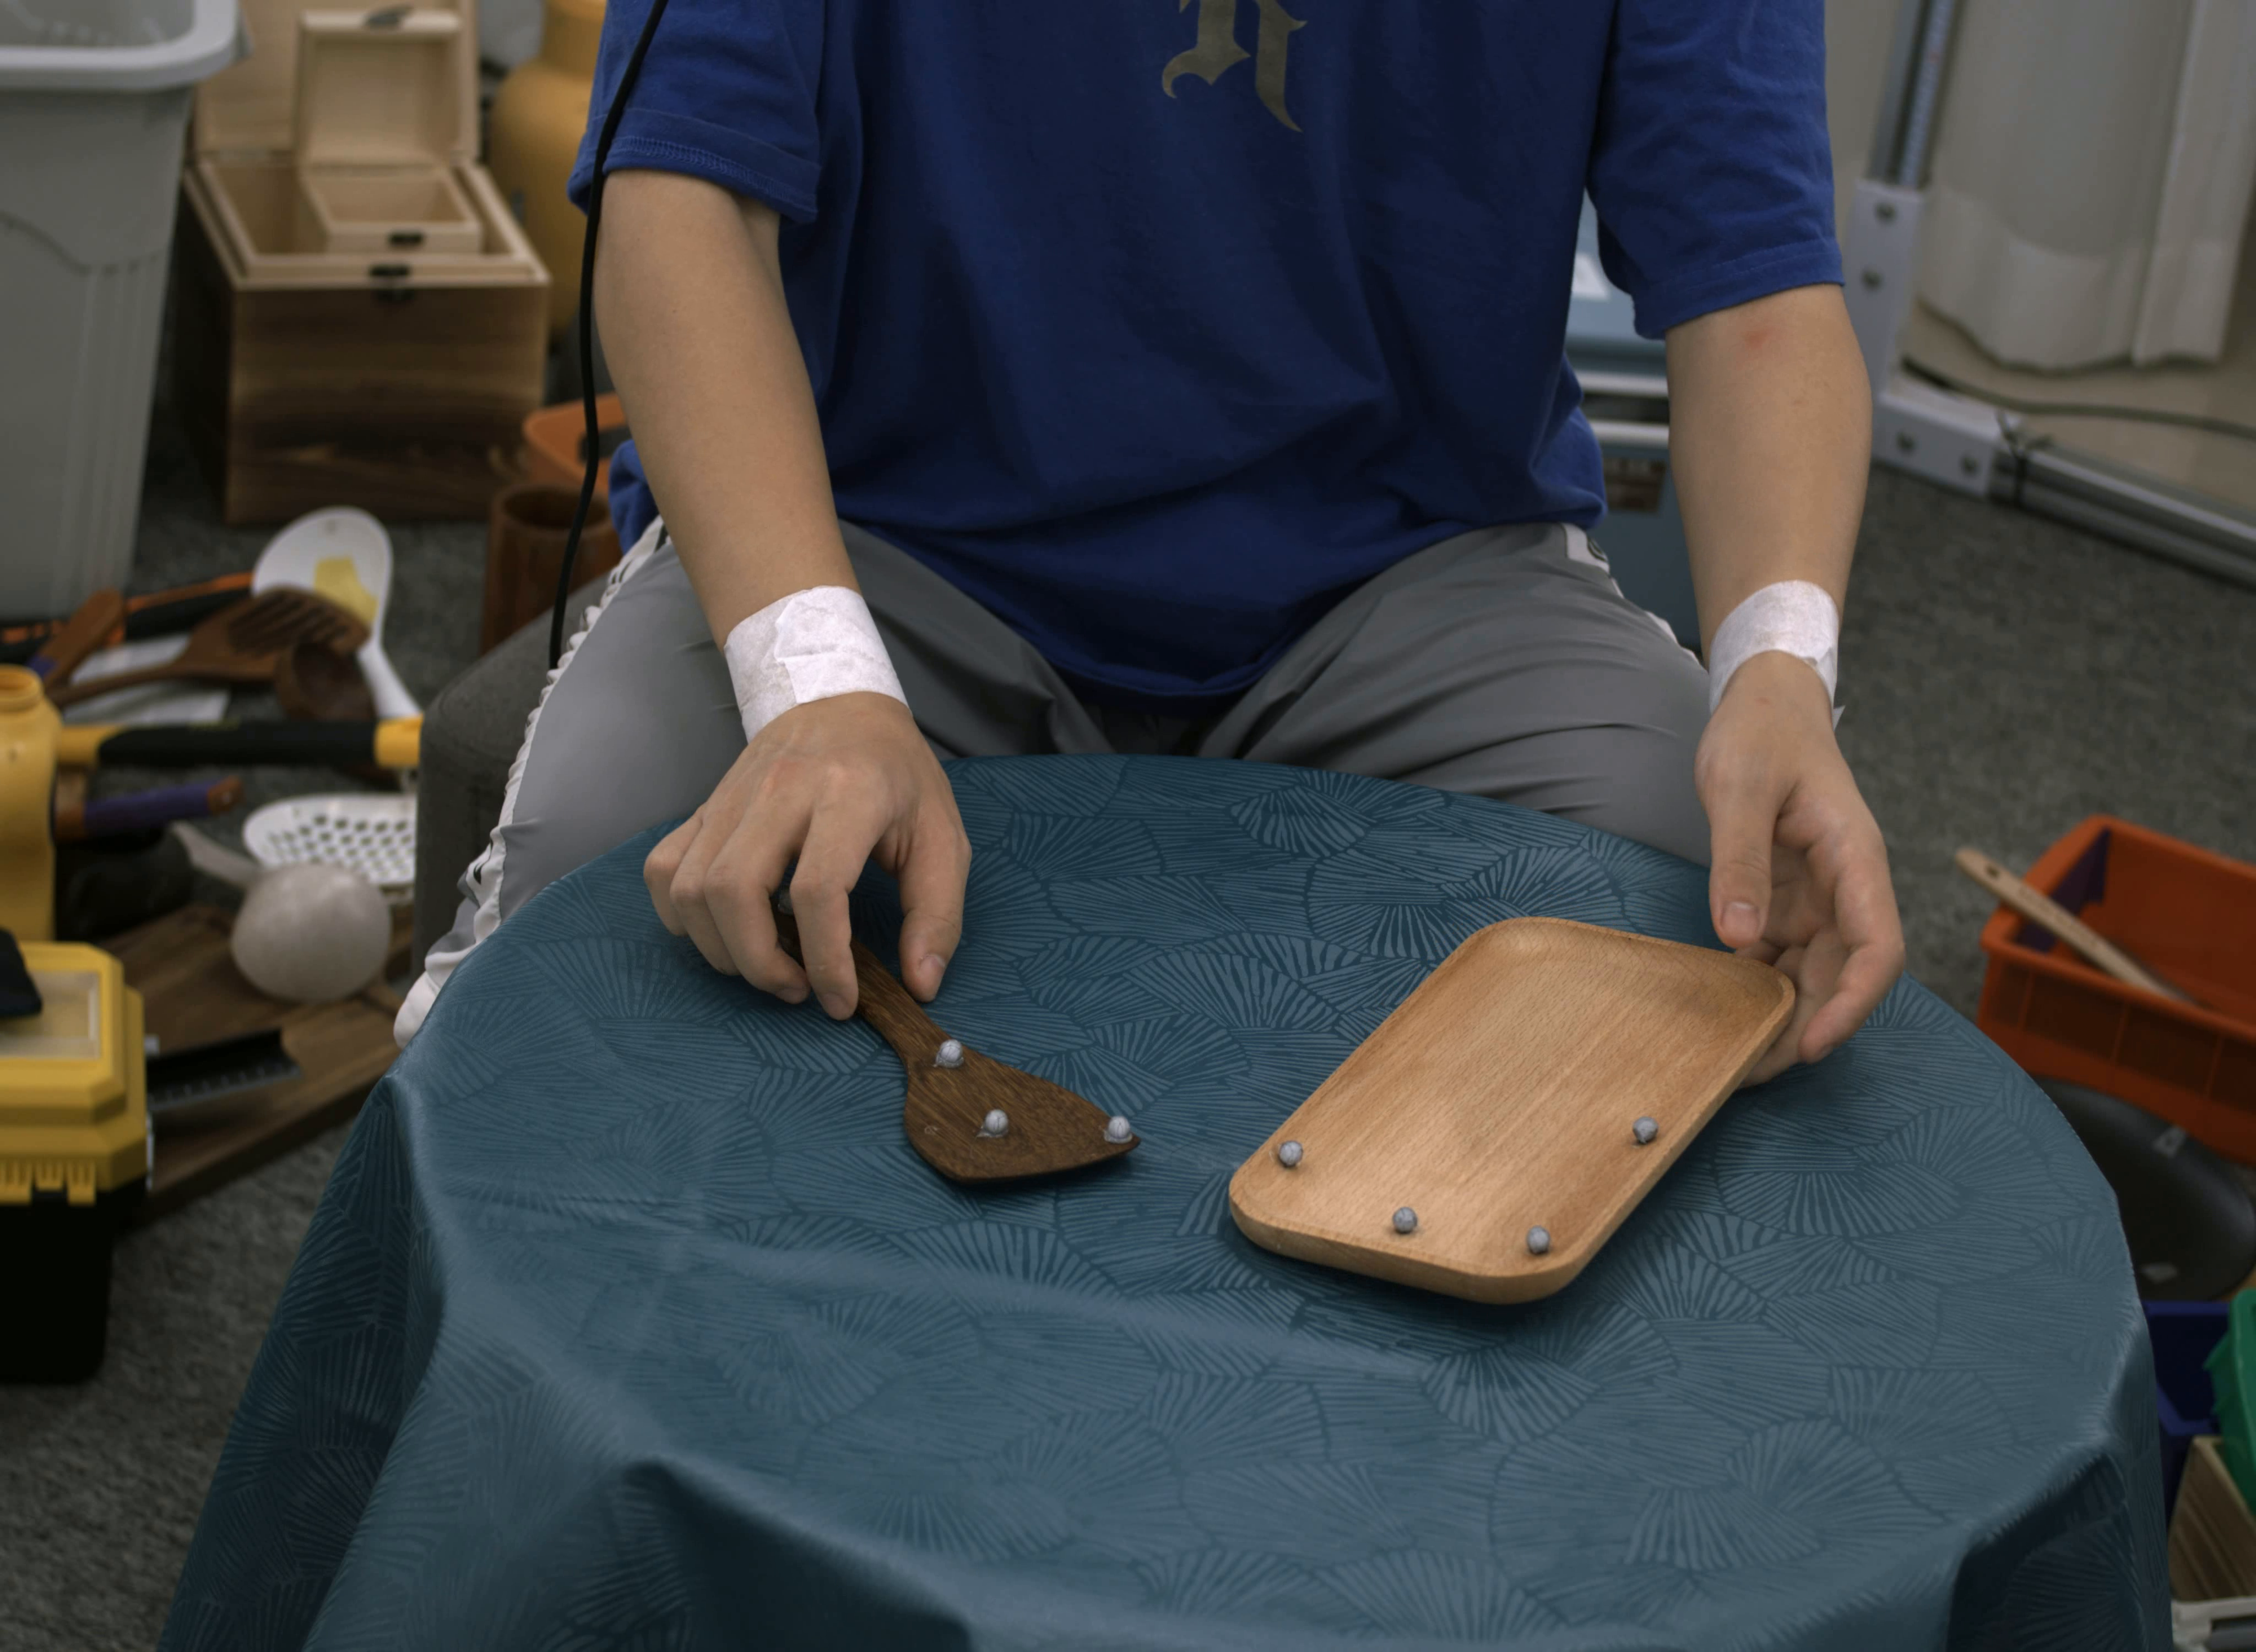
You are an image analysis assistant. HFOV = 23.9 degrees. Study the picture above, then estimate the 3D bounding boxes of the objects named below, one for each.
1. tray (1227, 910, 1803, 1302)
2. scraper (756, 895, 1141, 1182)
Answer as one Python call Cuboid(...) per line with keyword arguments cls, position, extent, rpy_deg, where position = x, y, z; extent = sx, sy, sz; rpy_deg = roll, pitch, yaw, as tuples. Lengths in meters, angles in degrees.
Cuboid(cls="tray", position=(0.137, 0.095, 1.850), extent=(0.131, 0.023, 0.250), rpy_deg=(15, 29, 25))
Cuboid(cls="scraper", position=(-0.075, 0.073, 1.876), extent=(0.075, 0.011, 0.213), rpy_deg=(-9, 30, -29))
